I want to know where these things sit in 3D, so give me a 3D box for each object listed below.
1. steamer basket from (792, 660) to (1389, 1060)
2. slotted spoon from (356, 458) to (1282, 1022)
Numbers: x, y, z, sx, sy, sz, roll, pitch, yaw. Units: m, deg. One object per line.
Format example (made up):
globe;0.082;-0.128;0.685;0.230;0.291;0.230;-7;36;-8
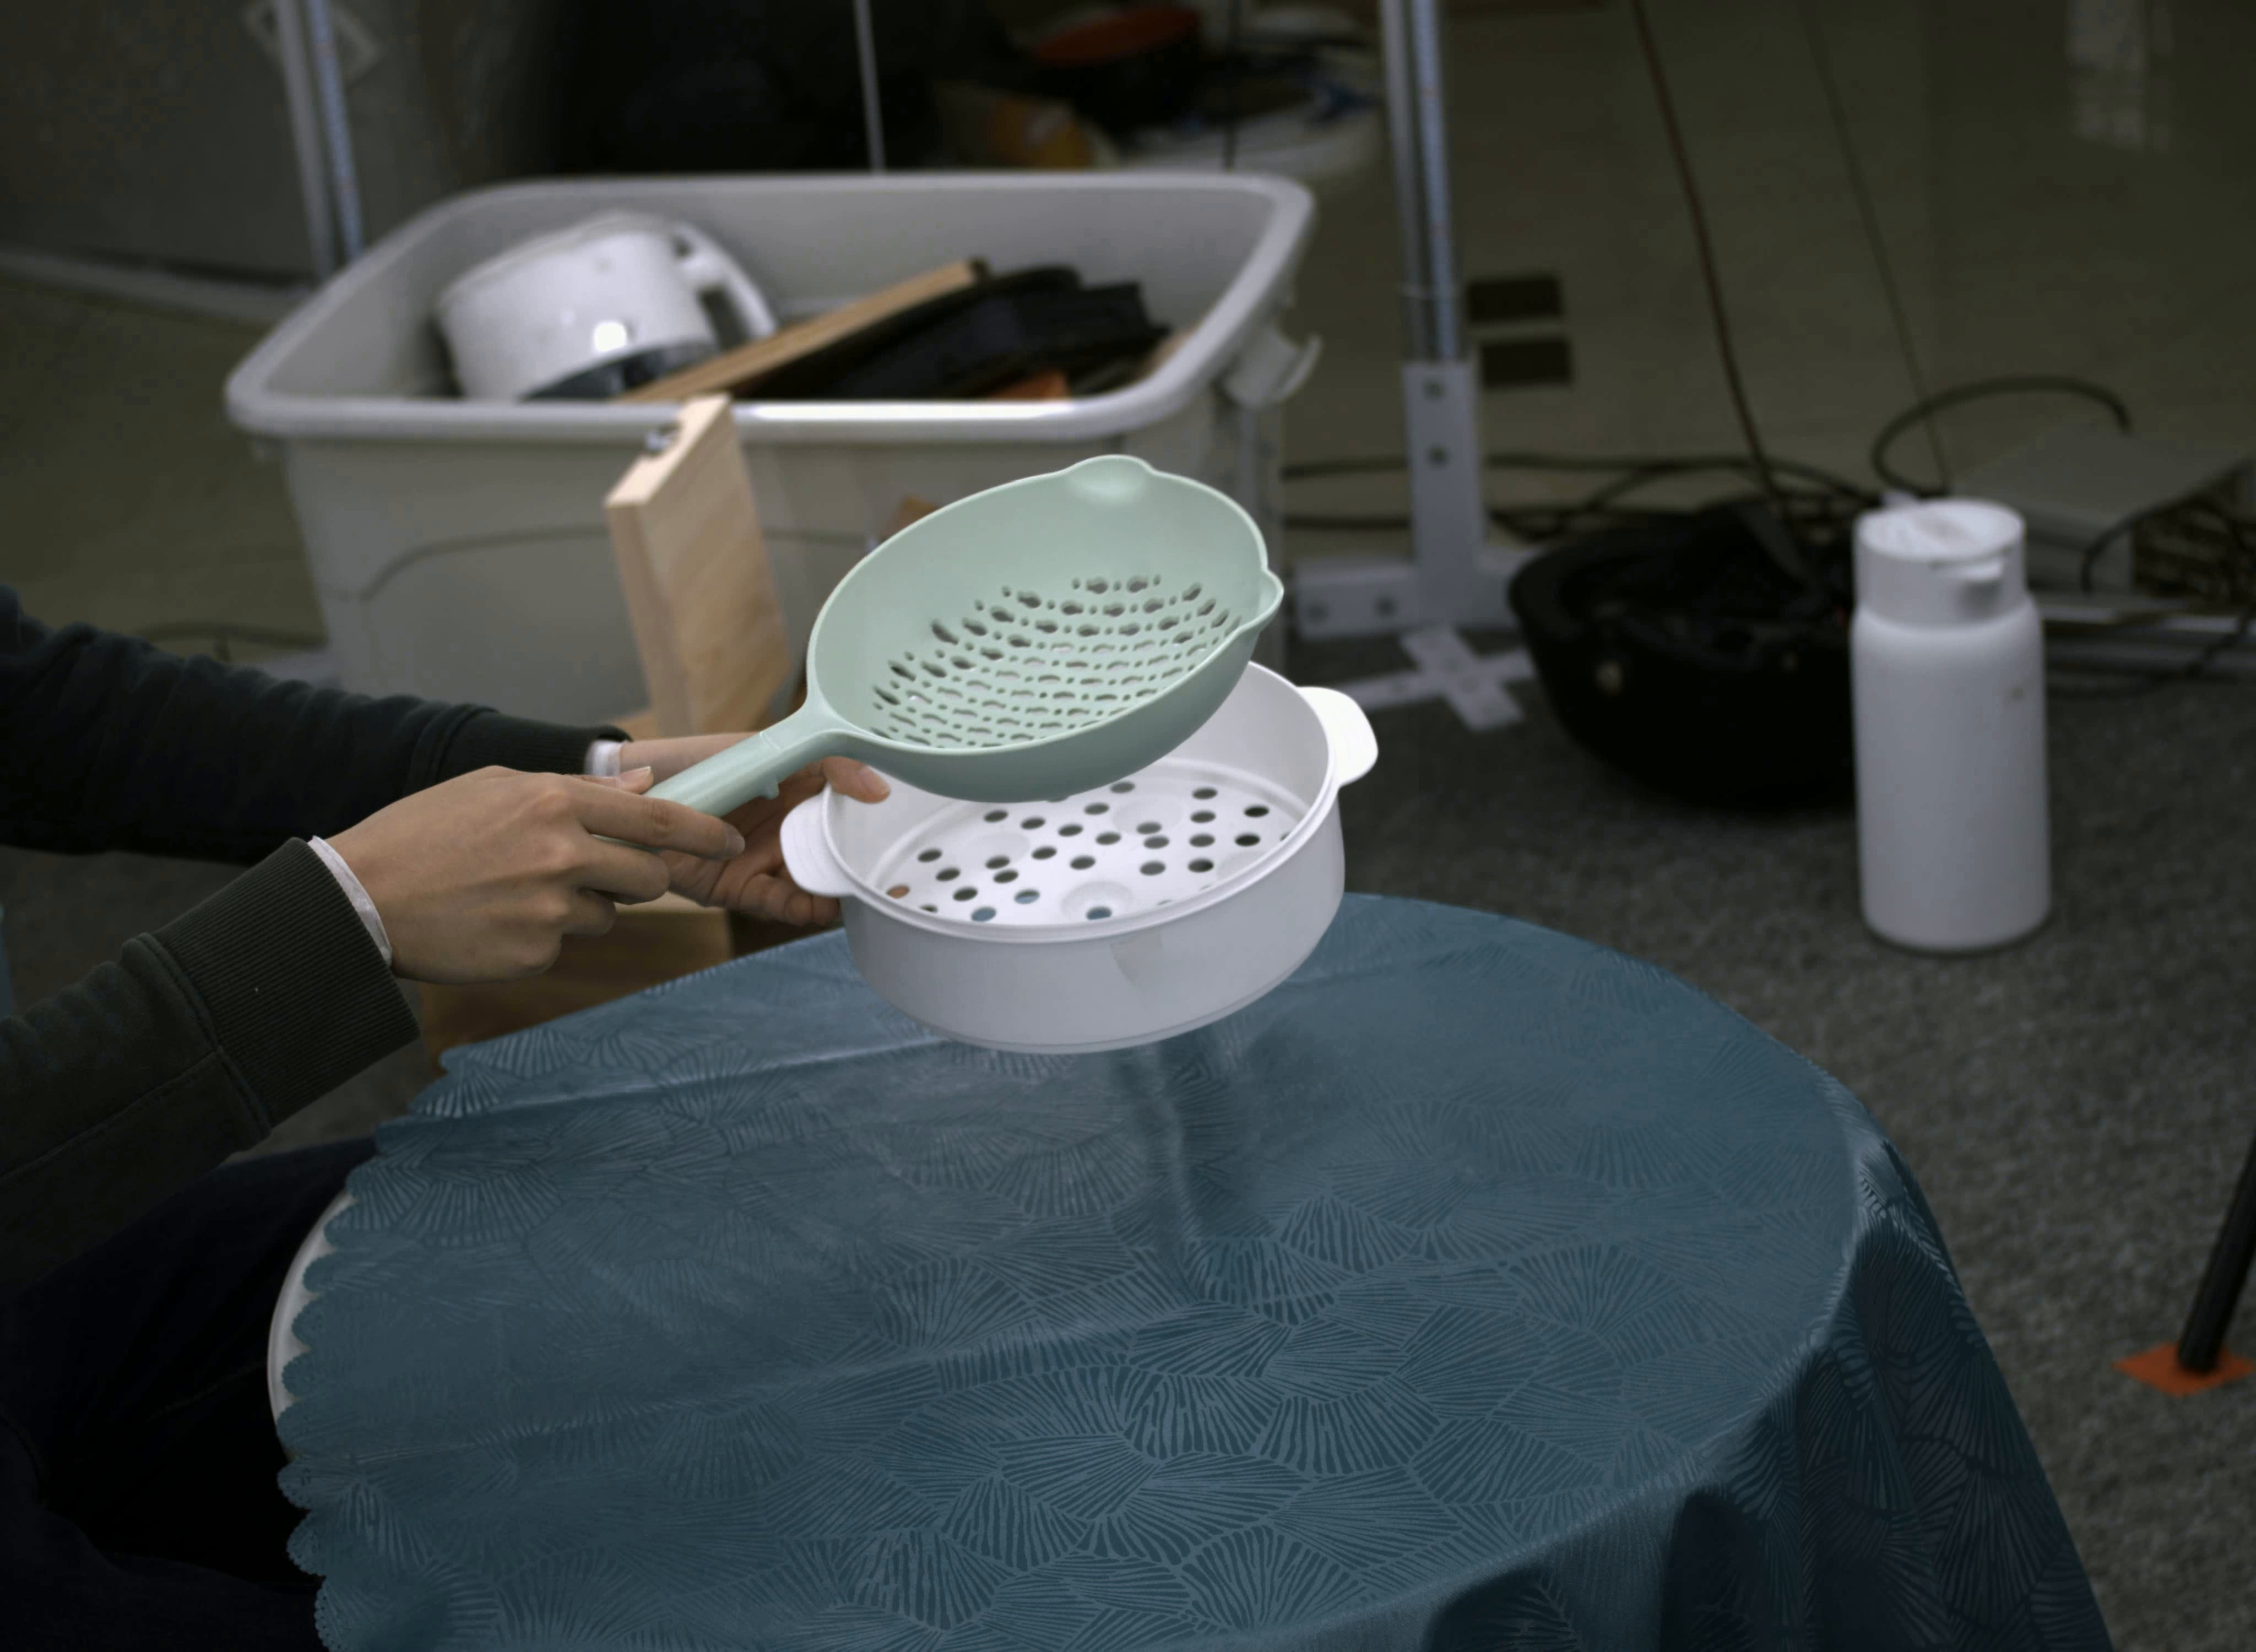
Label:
steamer basket;-0.010;0.011;2.167;0.230;0.070;0.198;-13;33;-6
slotted spoon;-0.114;-0.024;2.018;0.357;0.077;0.167;-21;36;-19
